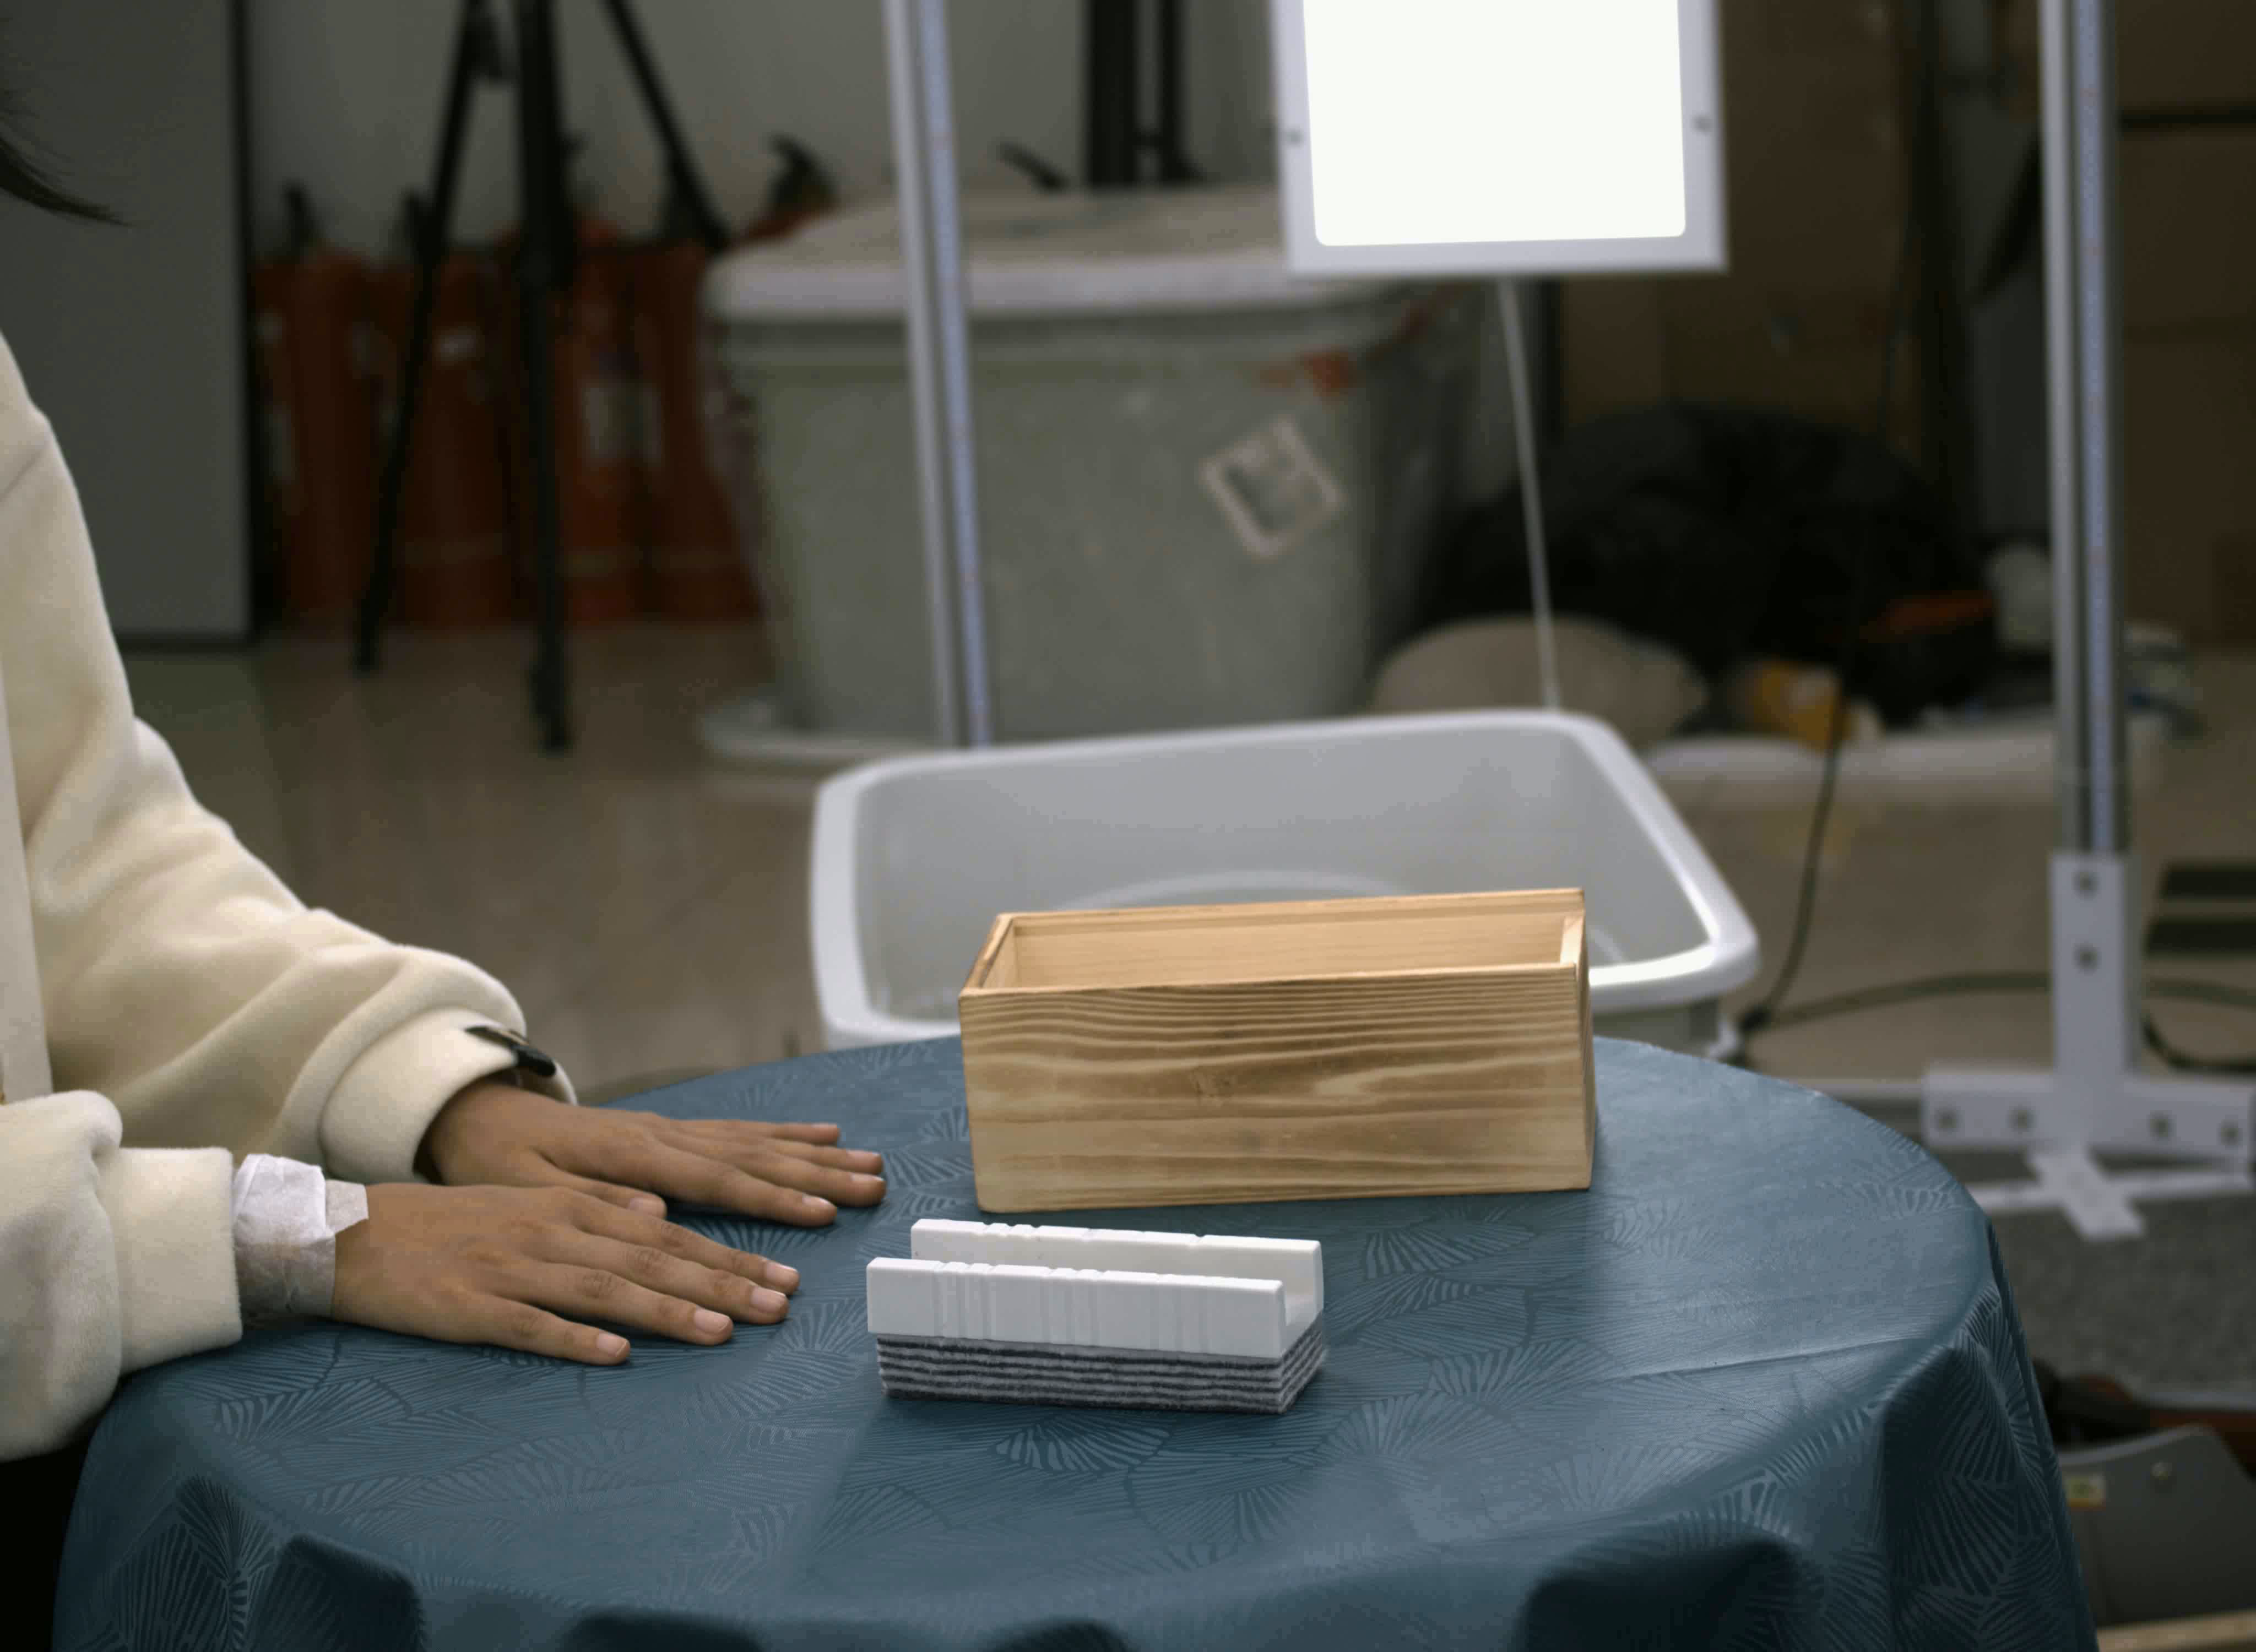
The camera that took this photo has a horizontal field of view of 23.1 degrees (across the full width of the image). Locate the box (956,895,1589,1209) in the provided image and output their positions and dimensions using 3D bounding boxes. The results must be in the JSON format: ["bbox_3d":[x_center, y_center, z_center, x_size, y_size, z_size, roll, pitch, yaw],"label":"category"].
[{"bbox_3d":[0.053,0.078,1.912,0.212,0.080,0.106,-2,14,8],"label":"box"}]

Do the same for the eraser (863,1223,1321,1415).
[{"bbox_3d":[-0.010,0.151,1.702,0.136,0.047,0.049,1,17,19],"label":"eraser"}]
